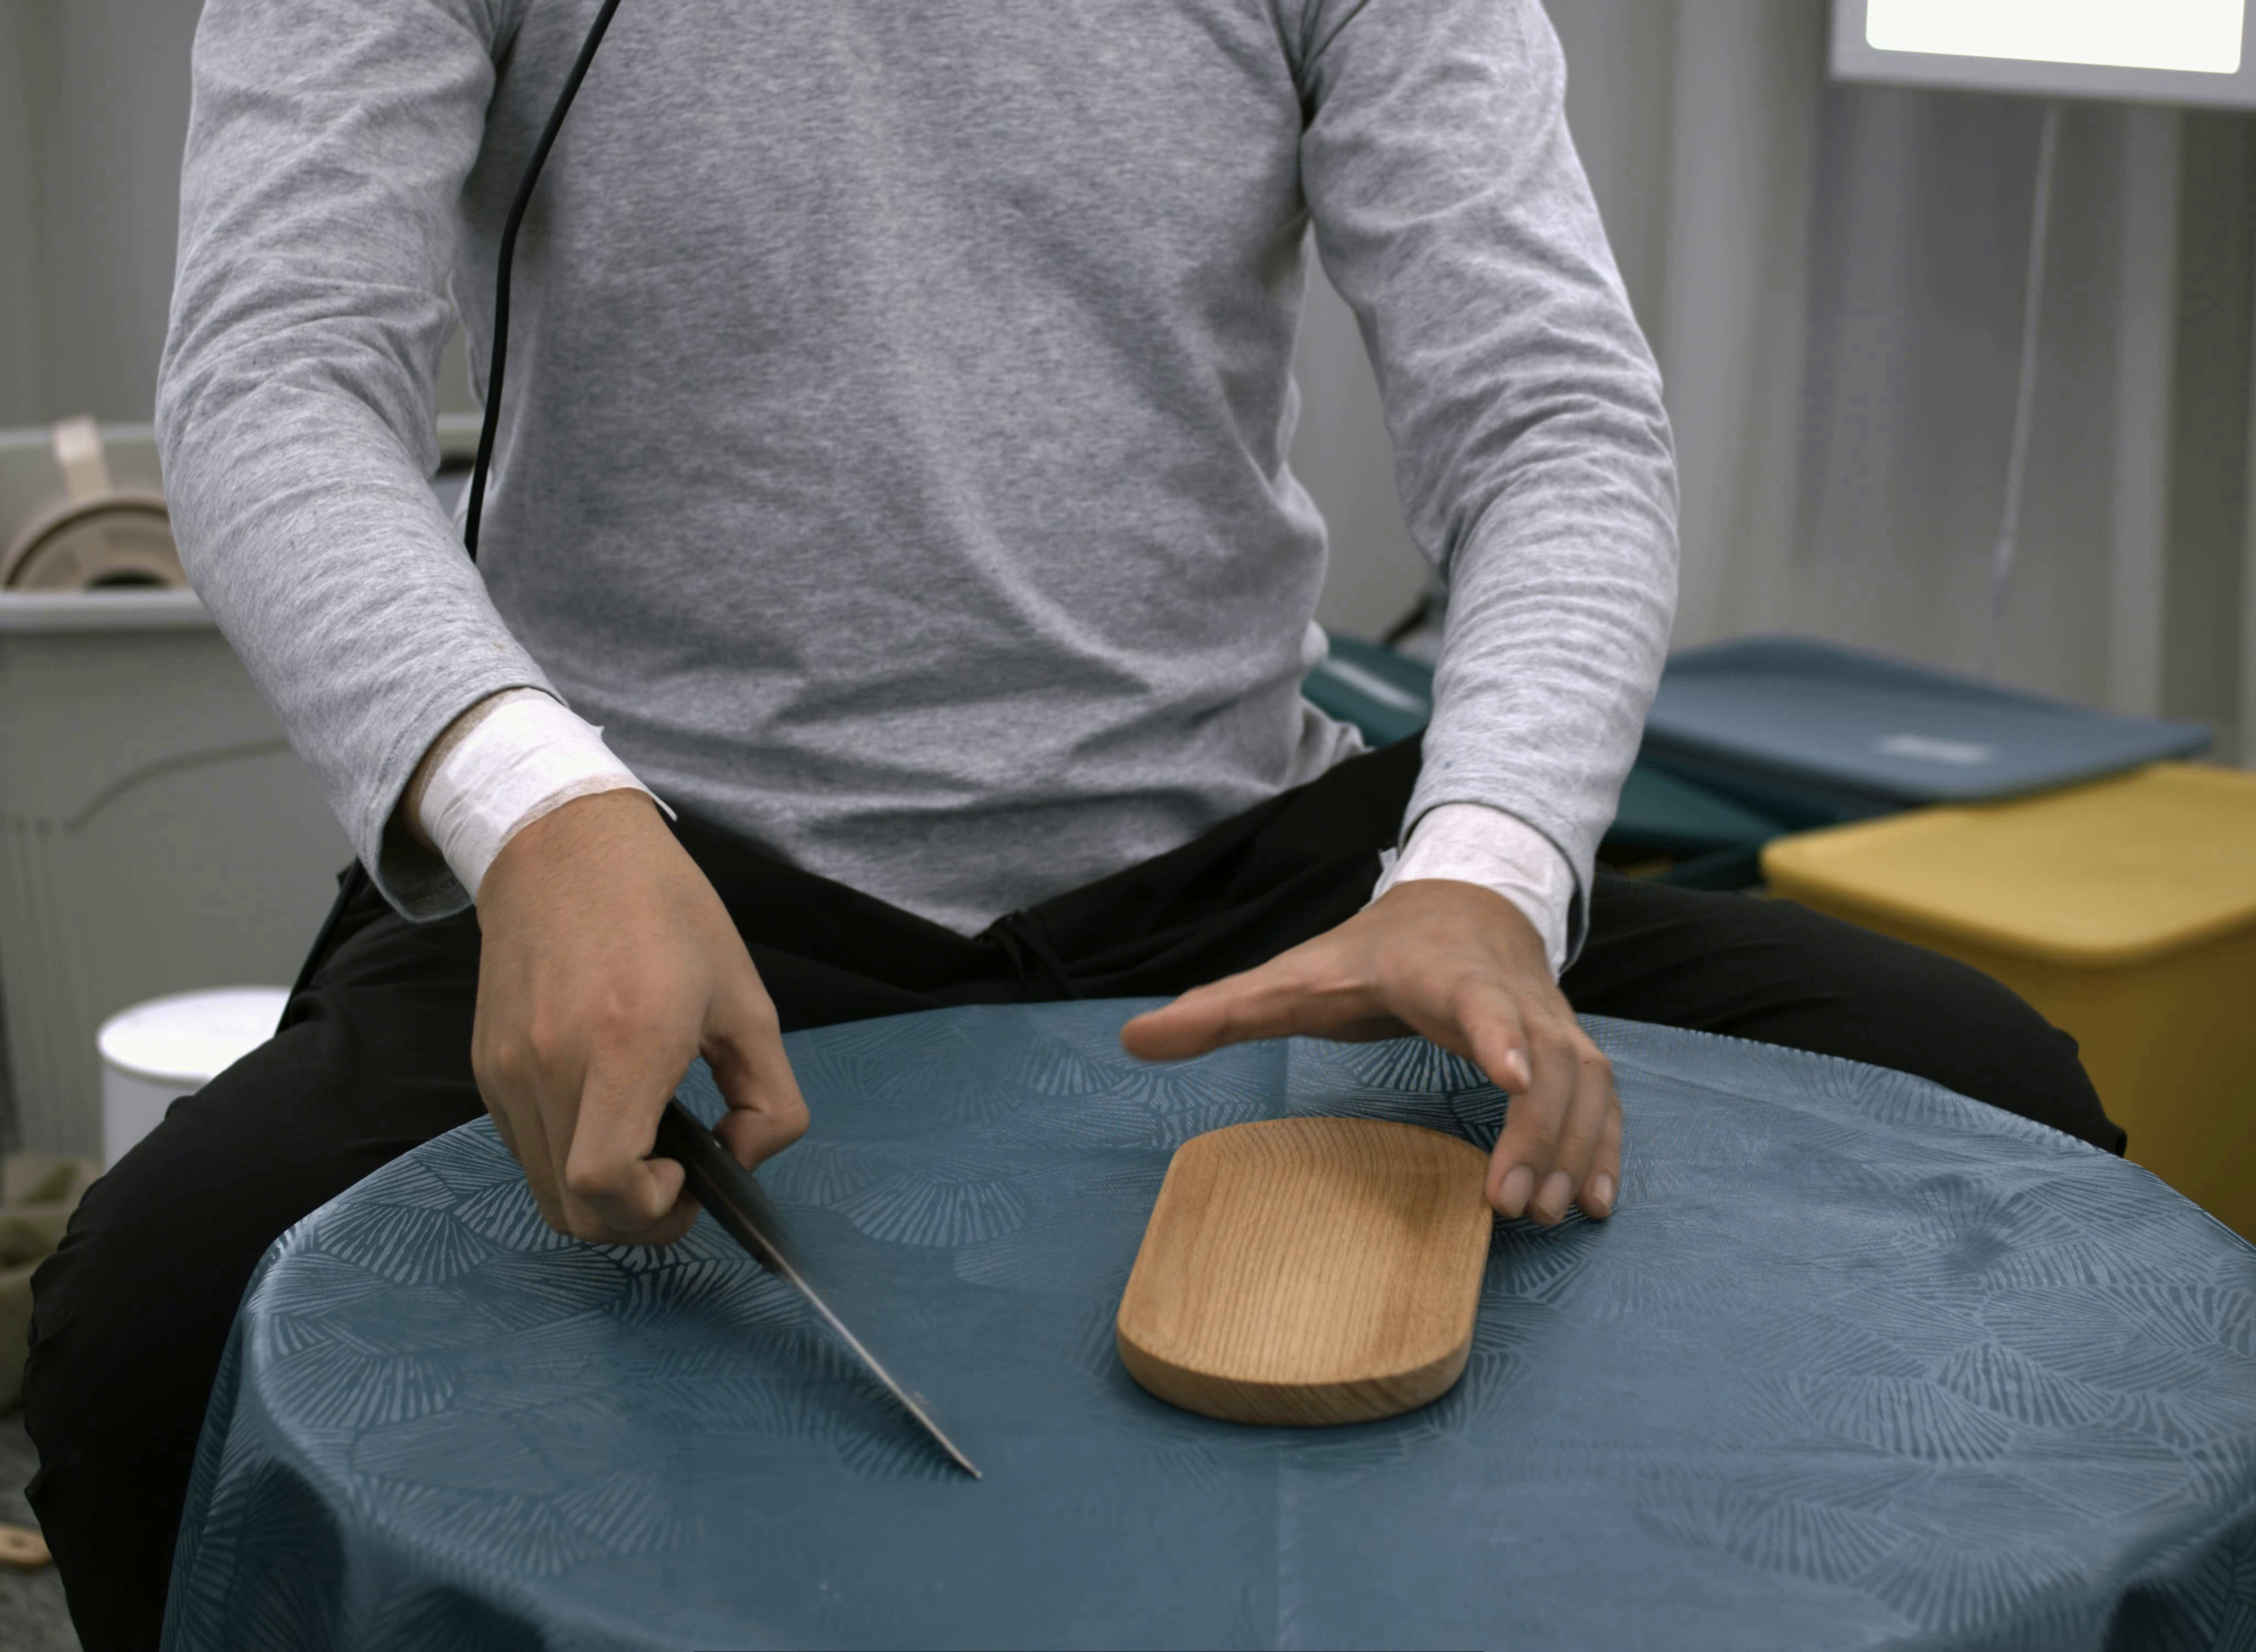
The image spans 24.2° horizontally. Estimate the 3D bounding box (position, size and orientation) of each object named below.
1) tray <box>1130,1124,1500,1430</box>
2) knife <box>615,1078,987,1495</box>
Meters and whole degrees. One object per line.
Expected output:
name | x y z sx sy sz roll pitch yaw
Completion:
tray | 0.057 0.129 1.538 0.101 0.020 0.230 1 16 5
knife | -0.095 0.128 1.490 0.025 0.016 0.235 39 1 -39
